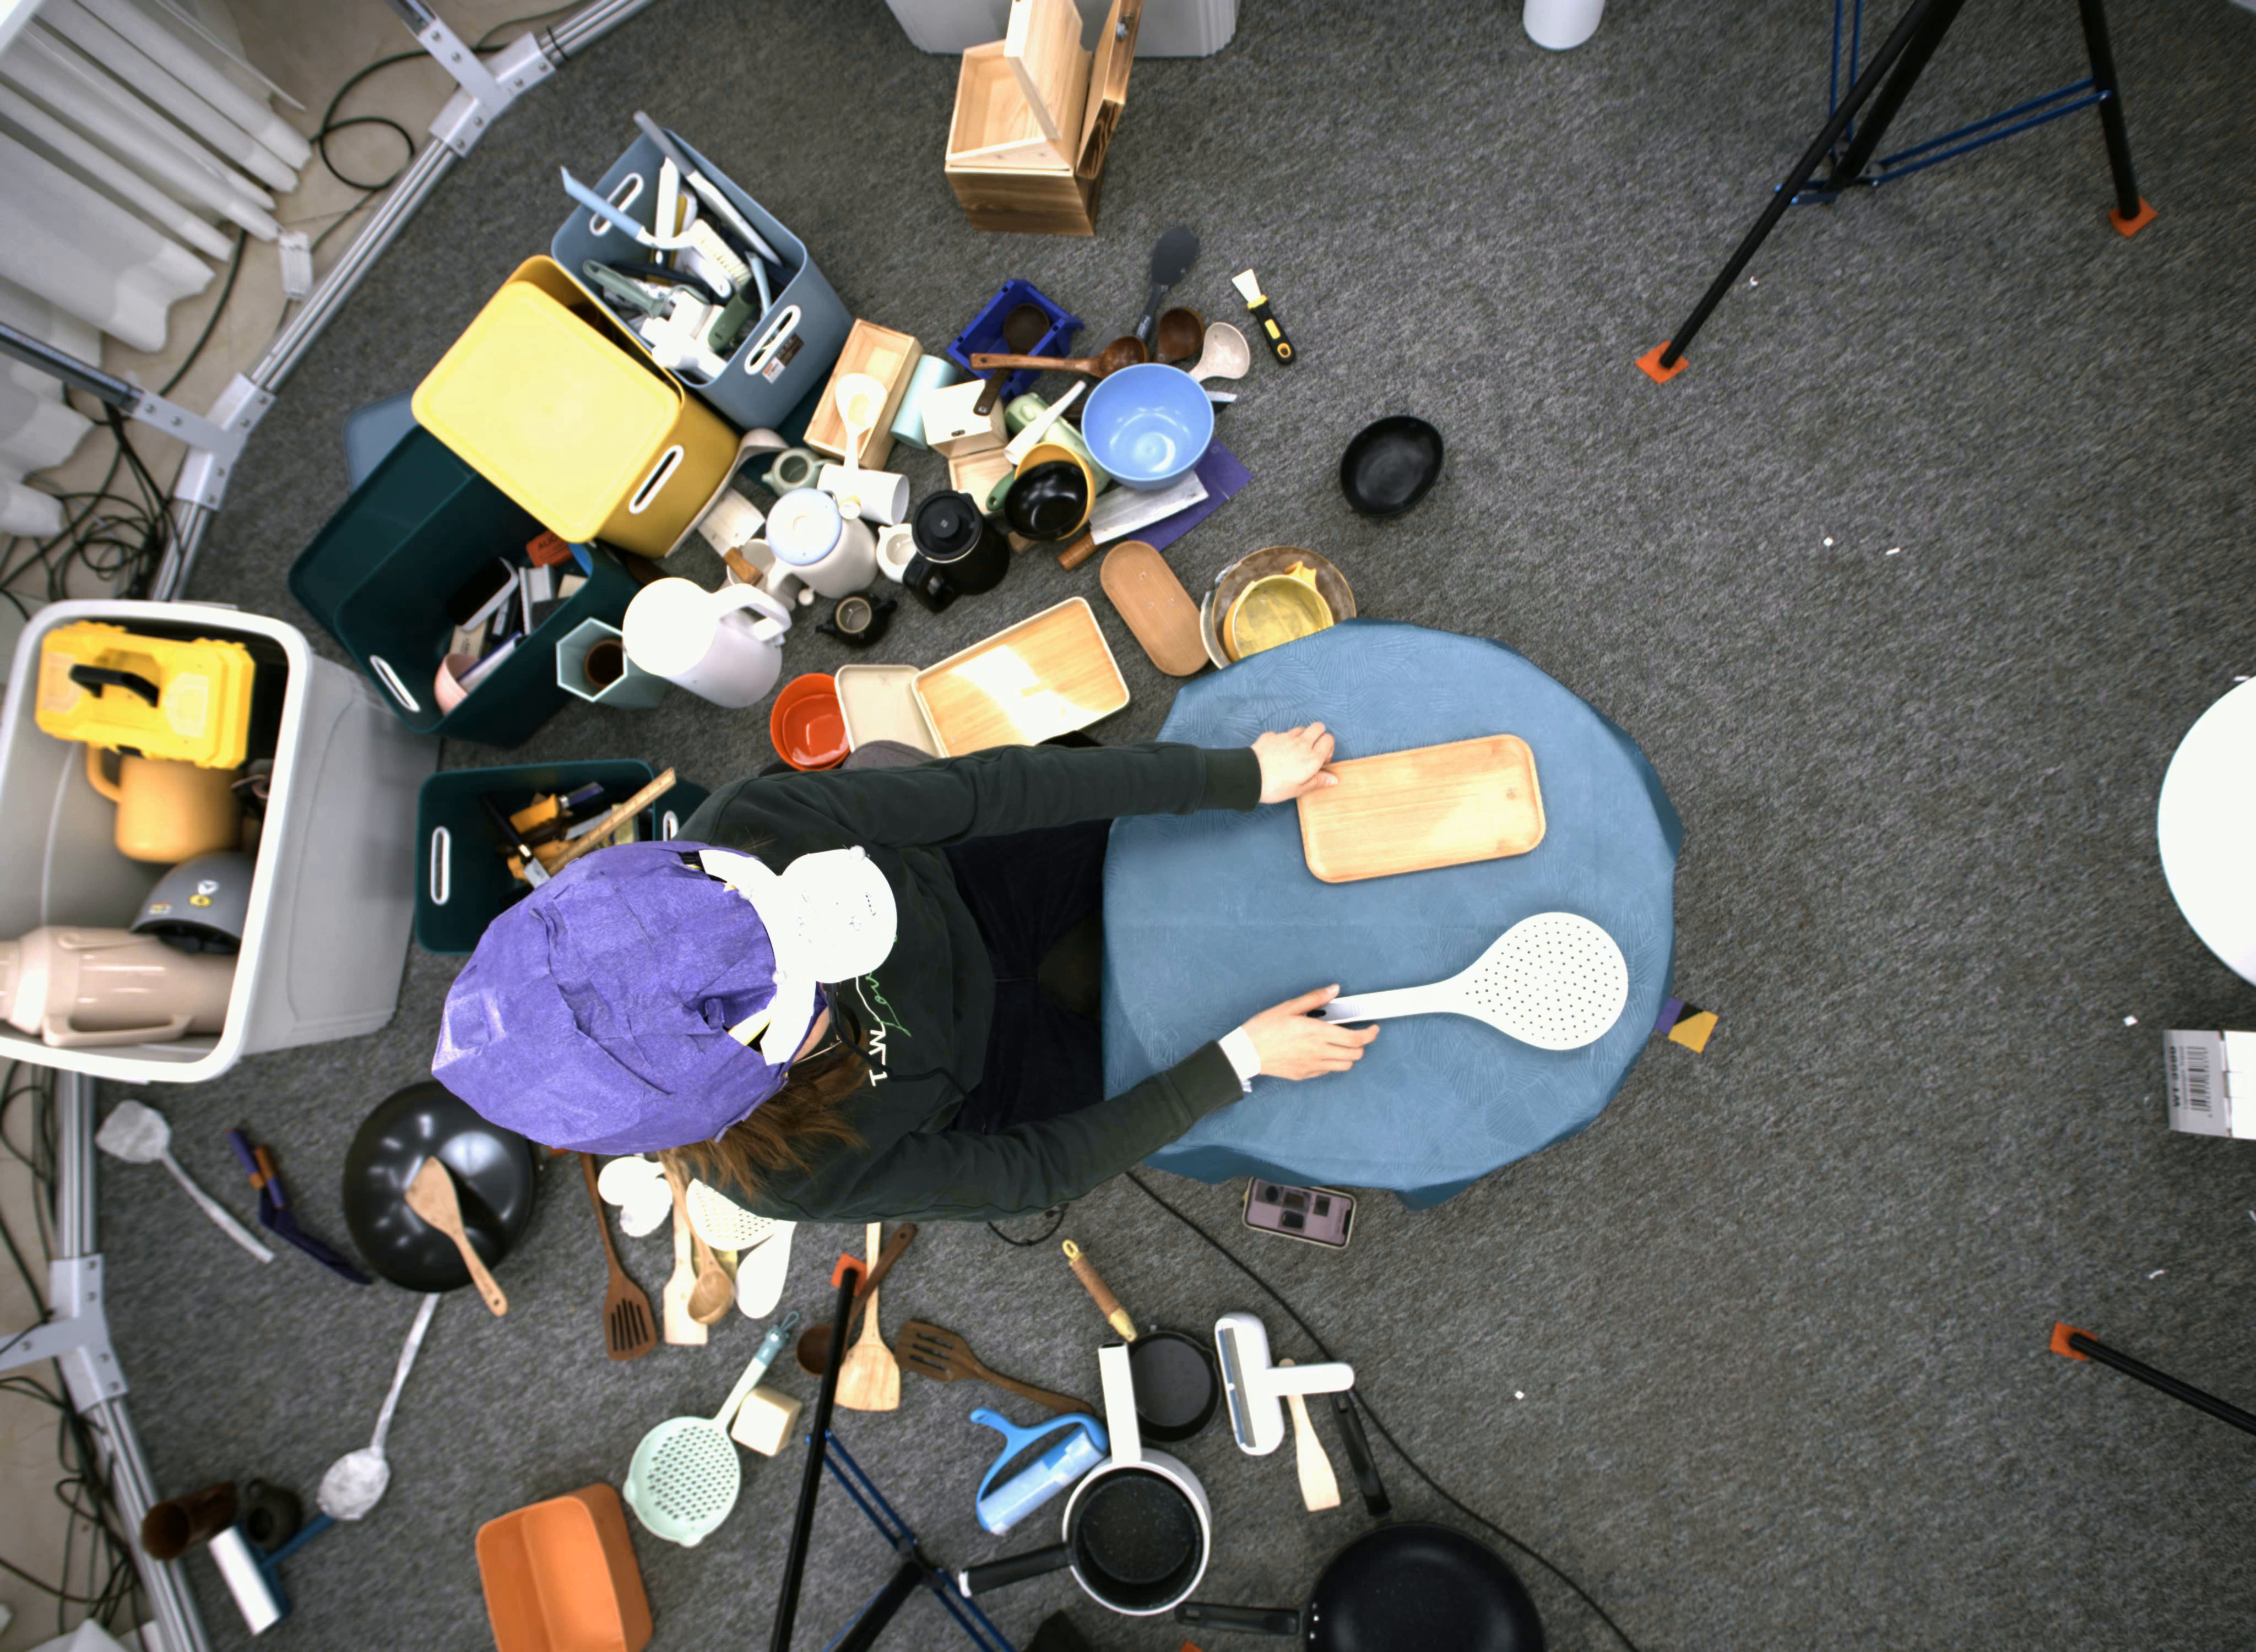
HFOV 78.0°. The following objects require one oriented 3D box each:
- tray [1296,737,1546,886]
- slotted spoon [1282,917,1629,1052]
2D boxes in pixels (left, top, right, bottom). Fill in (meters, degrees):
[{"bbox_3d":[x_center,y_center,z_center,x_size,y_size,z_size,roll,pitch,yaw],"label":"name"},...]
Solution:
[{"bbox_3d":[0.308,-0.016,1.455,0.252,0.023,0.129,-9,83,10],"label":"tray"},{"bbox_3d":[0.333,0.176,1.423,0.351,0.046,0.135,-9,82,10],"label":"slotted spoon"}]
